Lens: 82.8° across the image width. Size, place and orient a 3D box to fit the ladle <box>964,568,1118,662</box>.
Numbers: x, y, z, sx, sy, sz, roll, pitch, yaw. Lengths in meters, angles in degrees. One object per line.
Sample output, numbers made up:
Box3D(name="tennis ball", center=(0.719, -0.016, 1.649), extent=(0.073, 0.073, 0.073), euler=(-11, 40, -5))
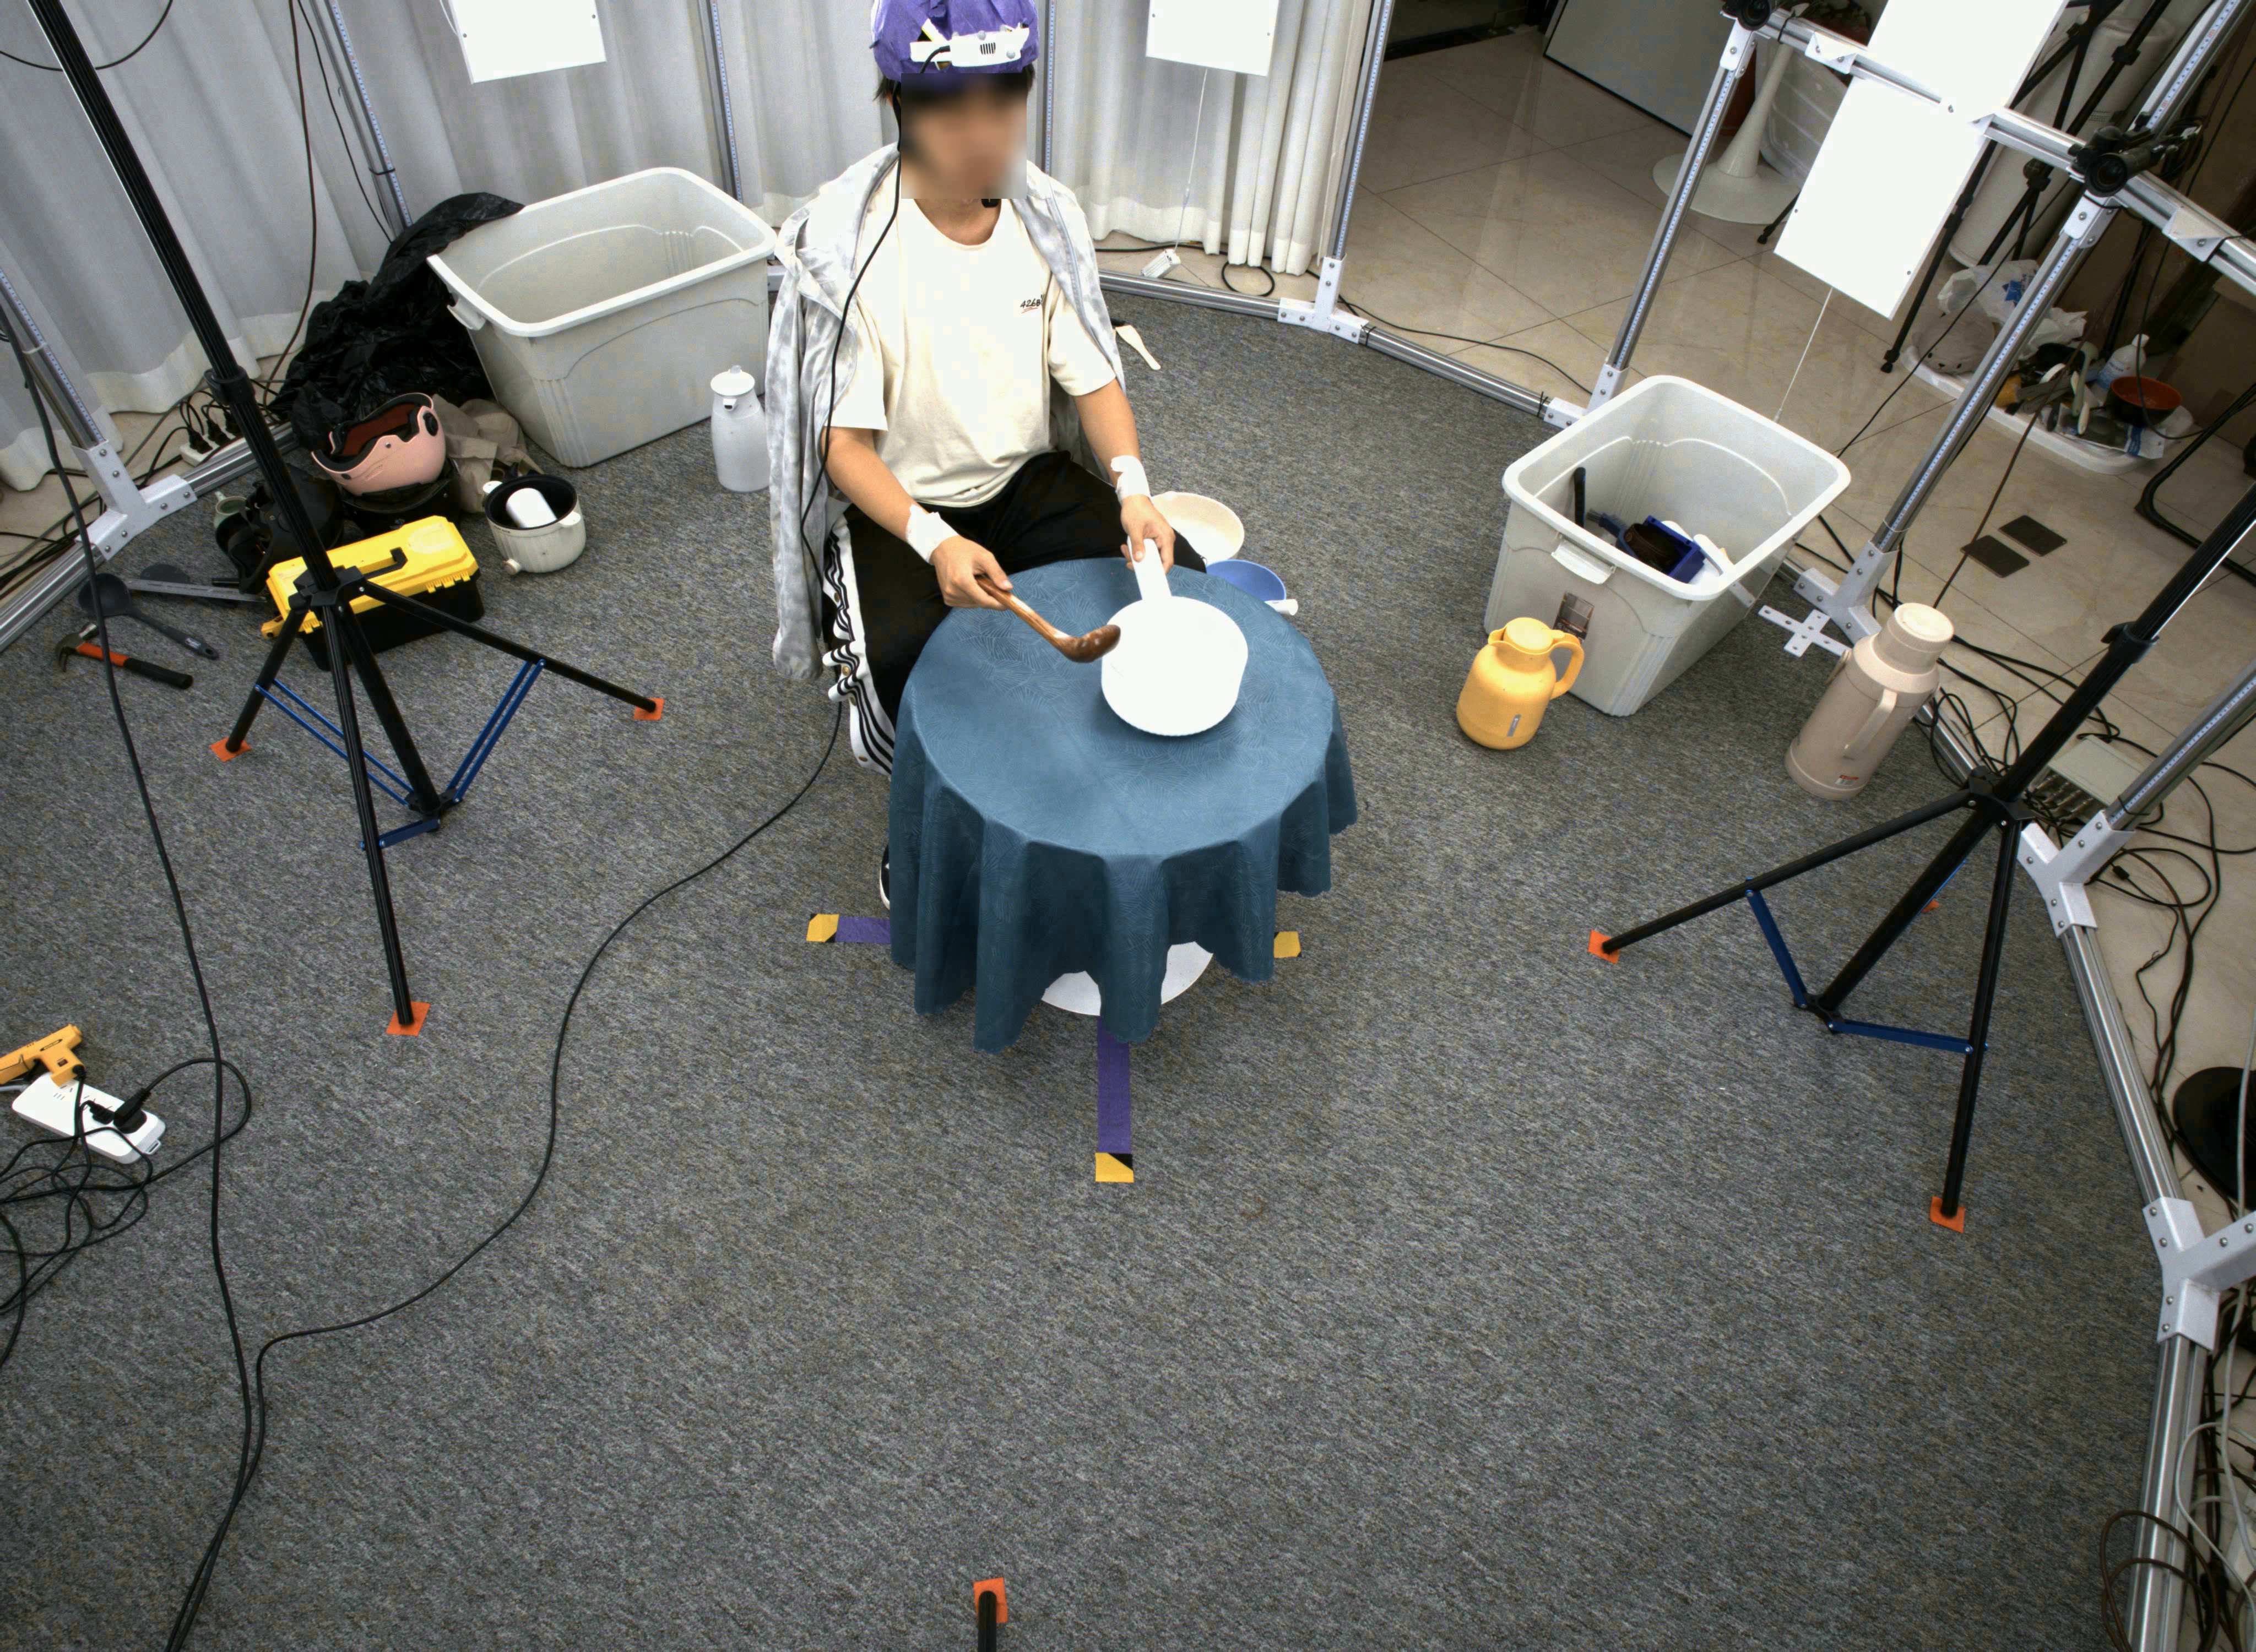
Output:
Box3D(name="ladle", center=(-0.122, -0.298, 1.697), extent=(0.082, 0.075, 0.279), euler=(-14, 46, -45))

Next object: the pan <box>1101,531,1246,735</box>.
Box3D(name="pan", center=(0.048, -0.277, 1.842), extent=(0.201, 0.099, 0.364), euler=(-6, 49, -8))
